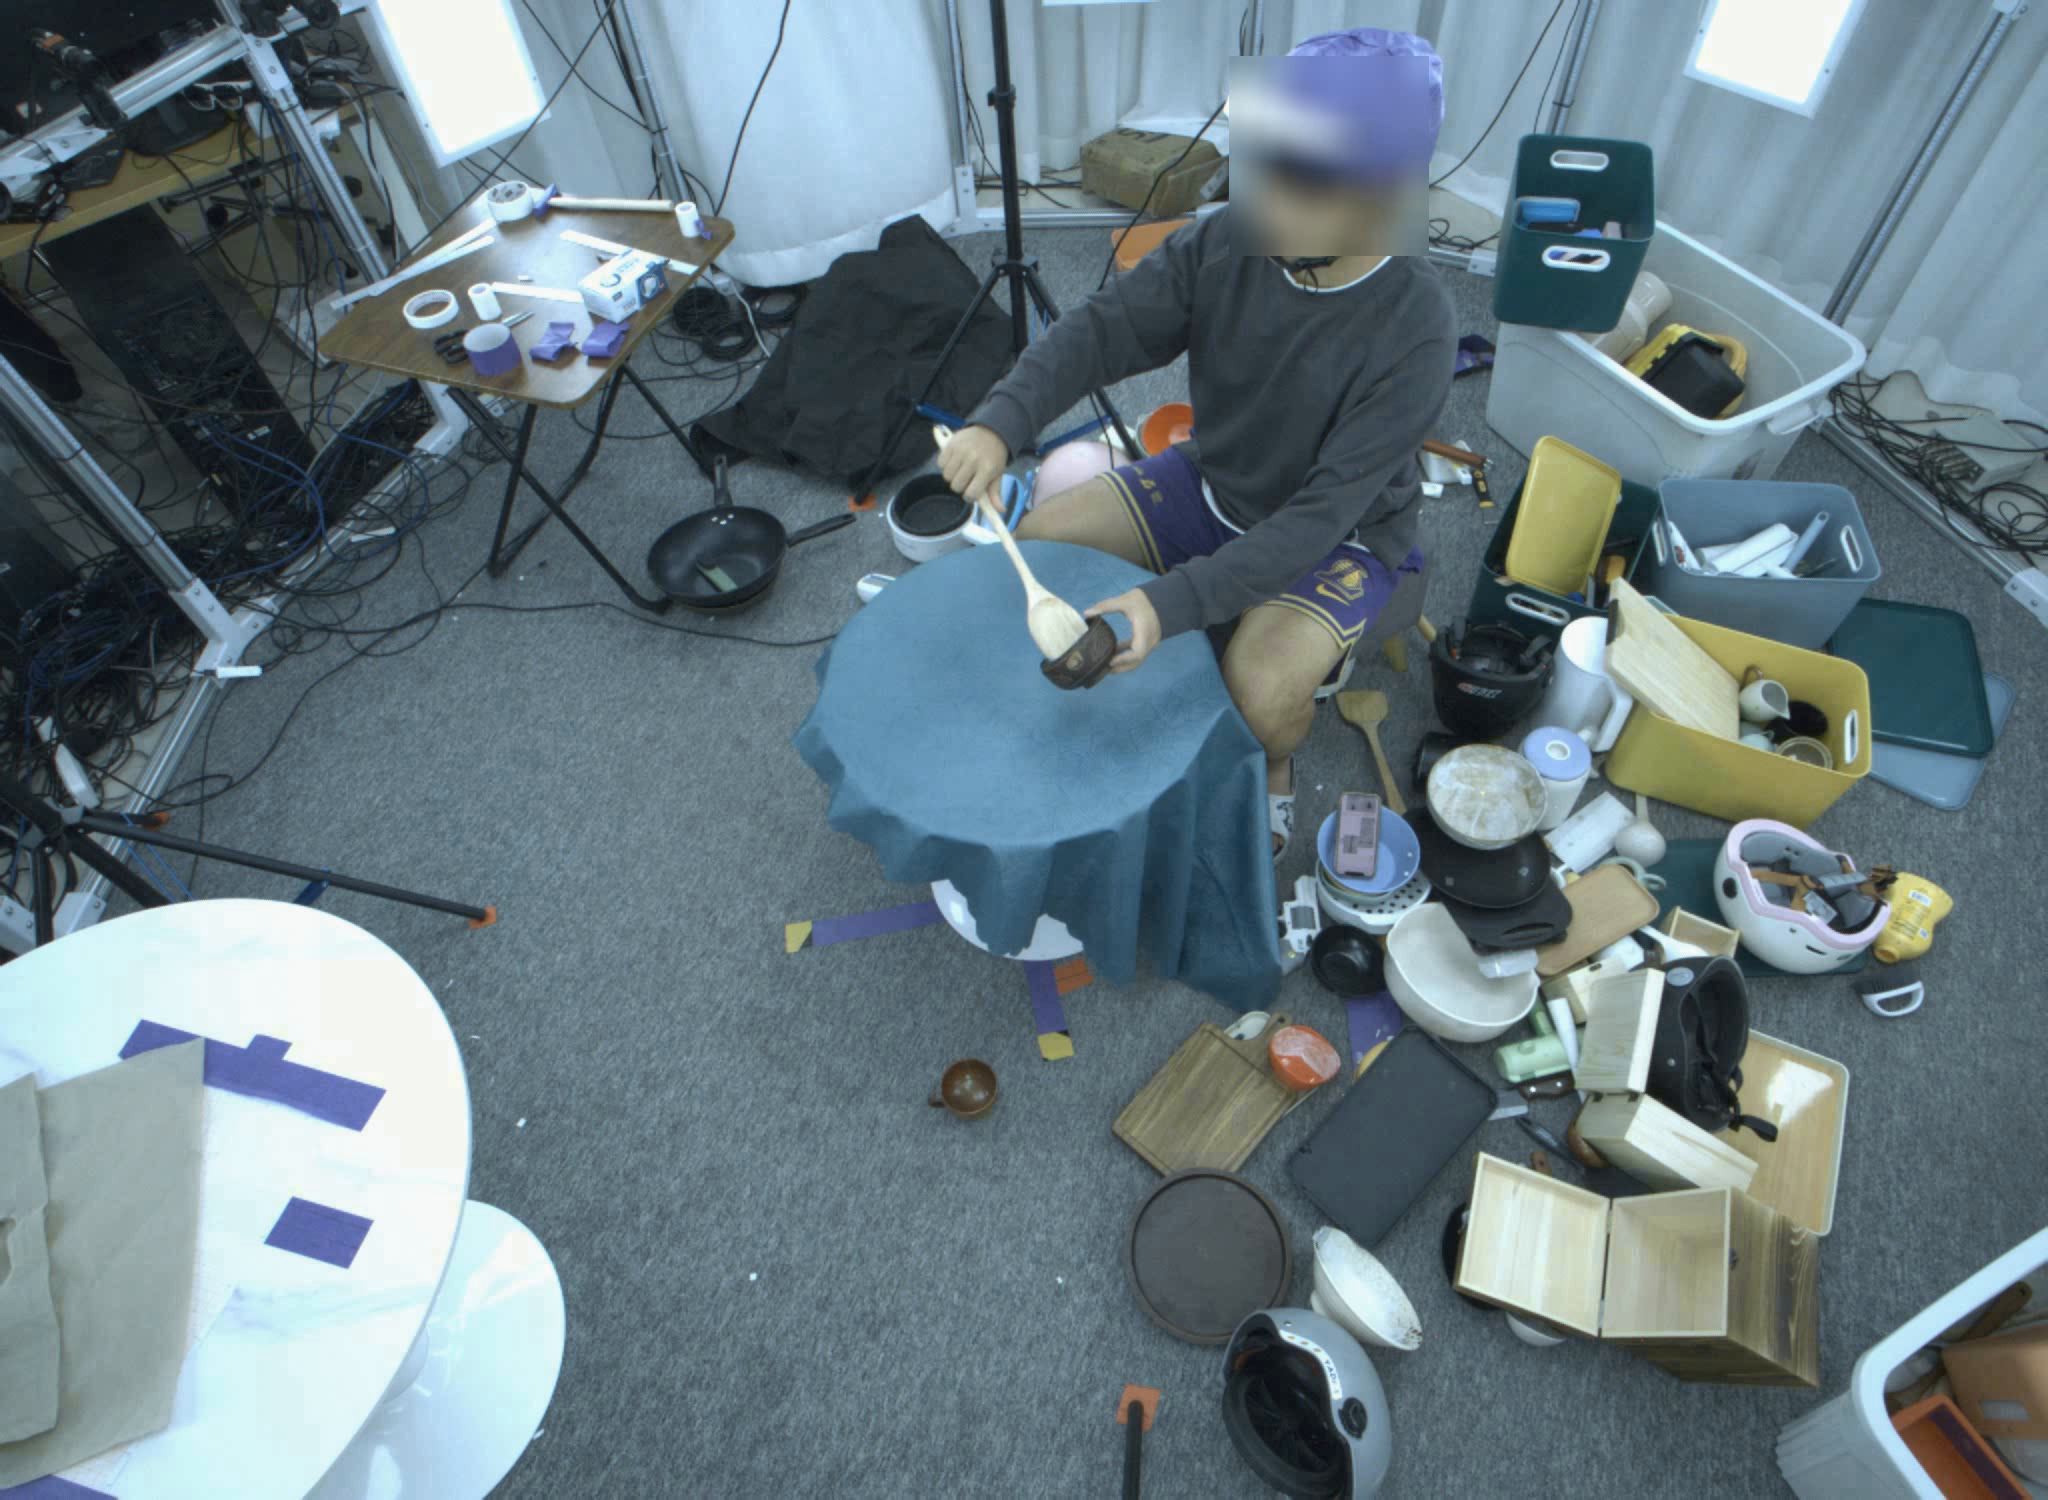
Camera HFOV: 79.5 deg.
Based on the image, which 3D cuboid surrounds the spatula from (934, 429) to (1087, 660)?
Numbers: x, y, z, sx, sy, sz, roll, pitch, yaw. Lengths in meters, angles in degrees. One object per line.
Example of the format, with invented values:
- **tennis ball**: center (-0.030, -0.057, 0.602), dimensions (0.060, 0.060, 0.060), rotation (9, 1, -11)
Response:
- **spatula**: center (-0.031, -0.297, 1.736), dimensions (0.097, 0.018, 0.390), rotation (-30, 90, -38)

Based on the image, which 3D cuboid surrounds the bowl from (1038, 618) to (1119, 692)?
- **bowl**: center (0.085, -0.126, 1.740), dimensions (0.119, 0.116, 0.070), rotation (-40, 98, -22)
